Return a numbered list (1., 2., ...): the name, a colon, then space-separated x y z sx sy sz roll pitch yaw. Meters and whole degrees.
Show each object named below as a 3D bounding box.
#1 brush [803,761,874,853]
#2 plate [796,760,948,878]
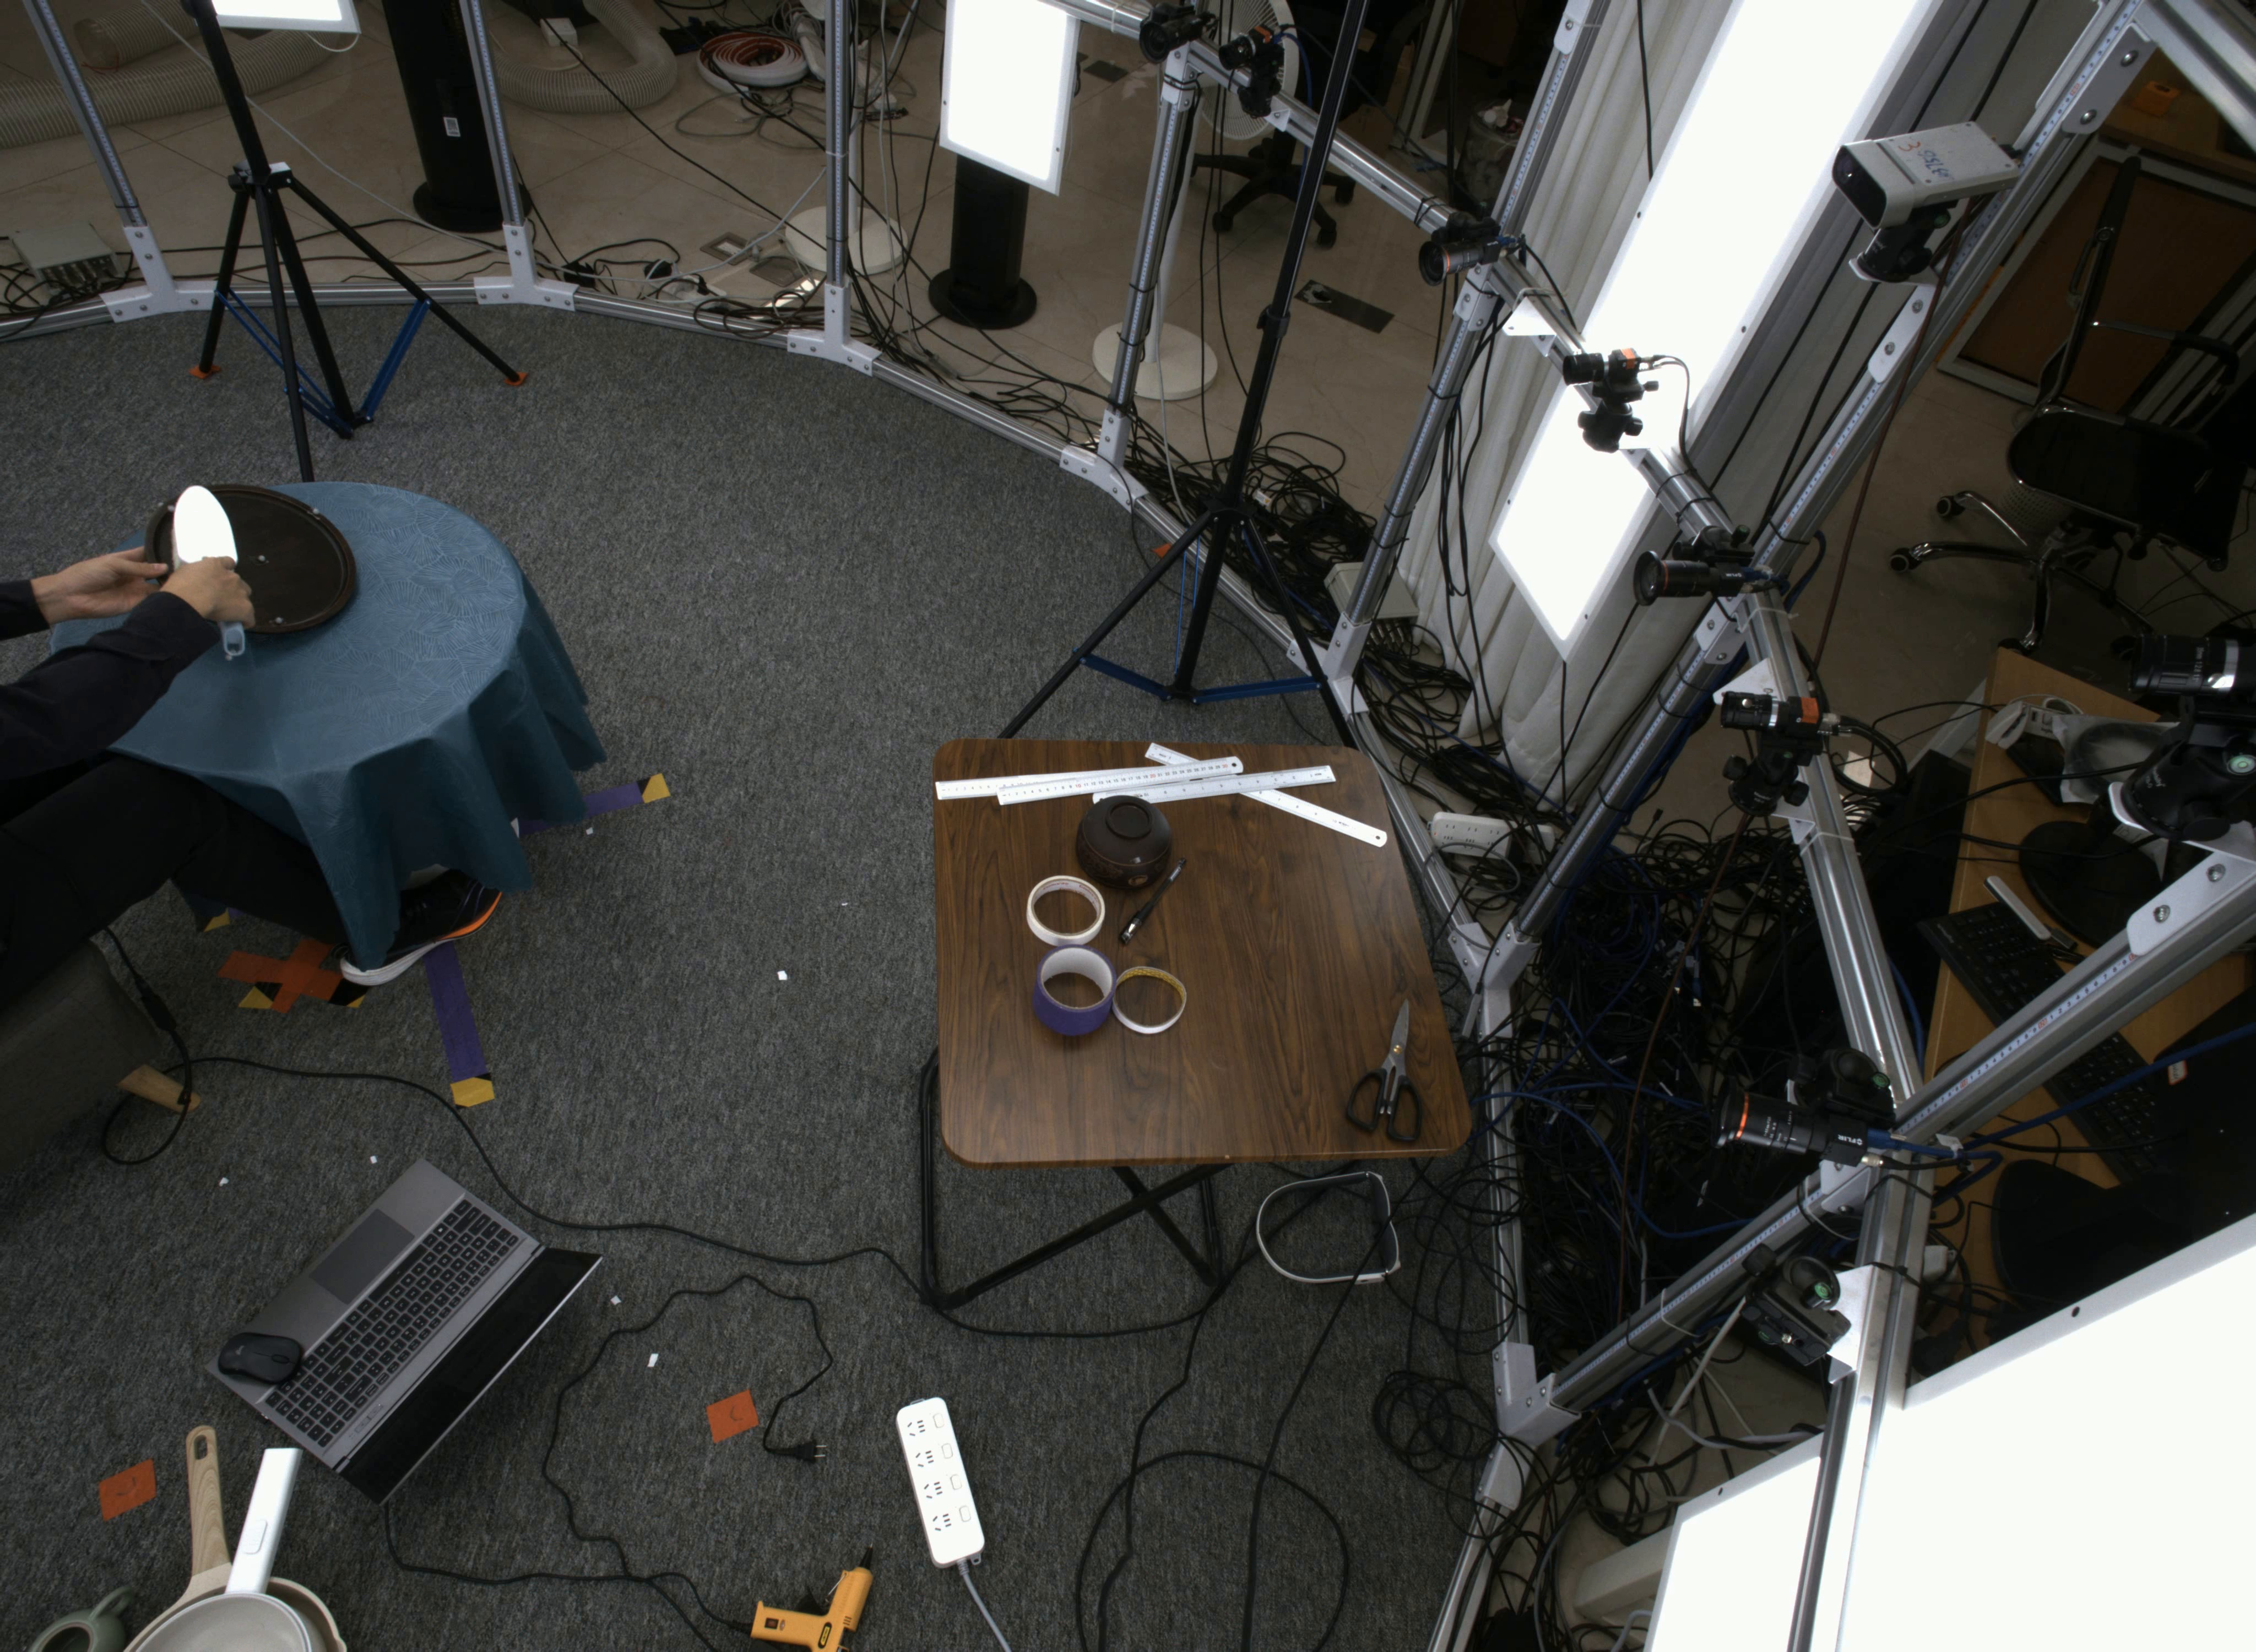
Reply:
1. brush: -0.459 -0.012 1.993 0.082 0.087 0.320 -7 24 7
2. plate: -0.413 -0.013 2.101 0.258 0.029 0.249 22 39 -17
